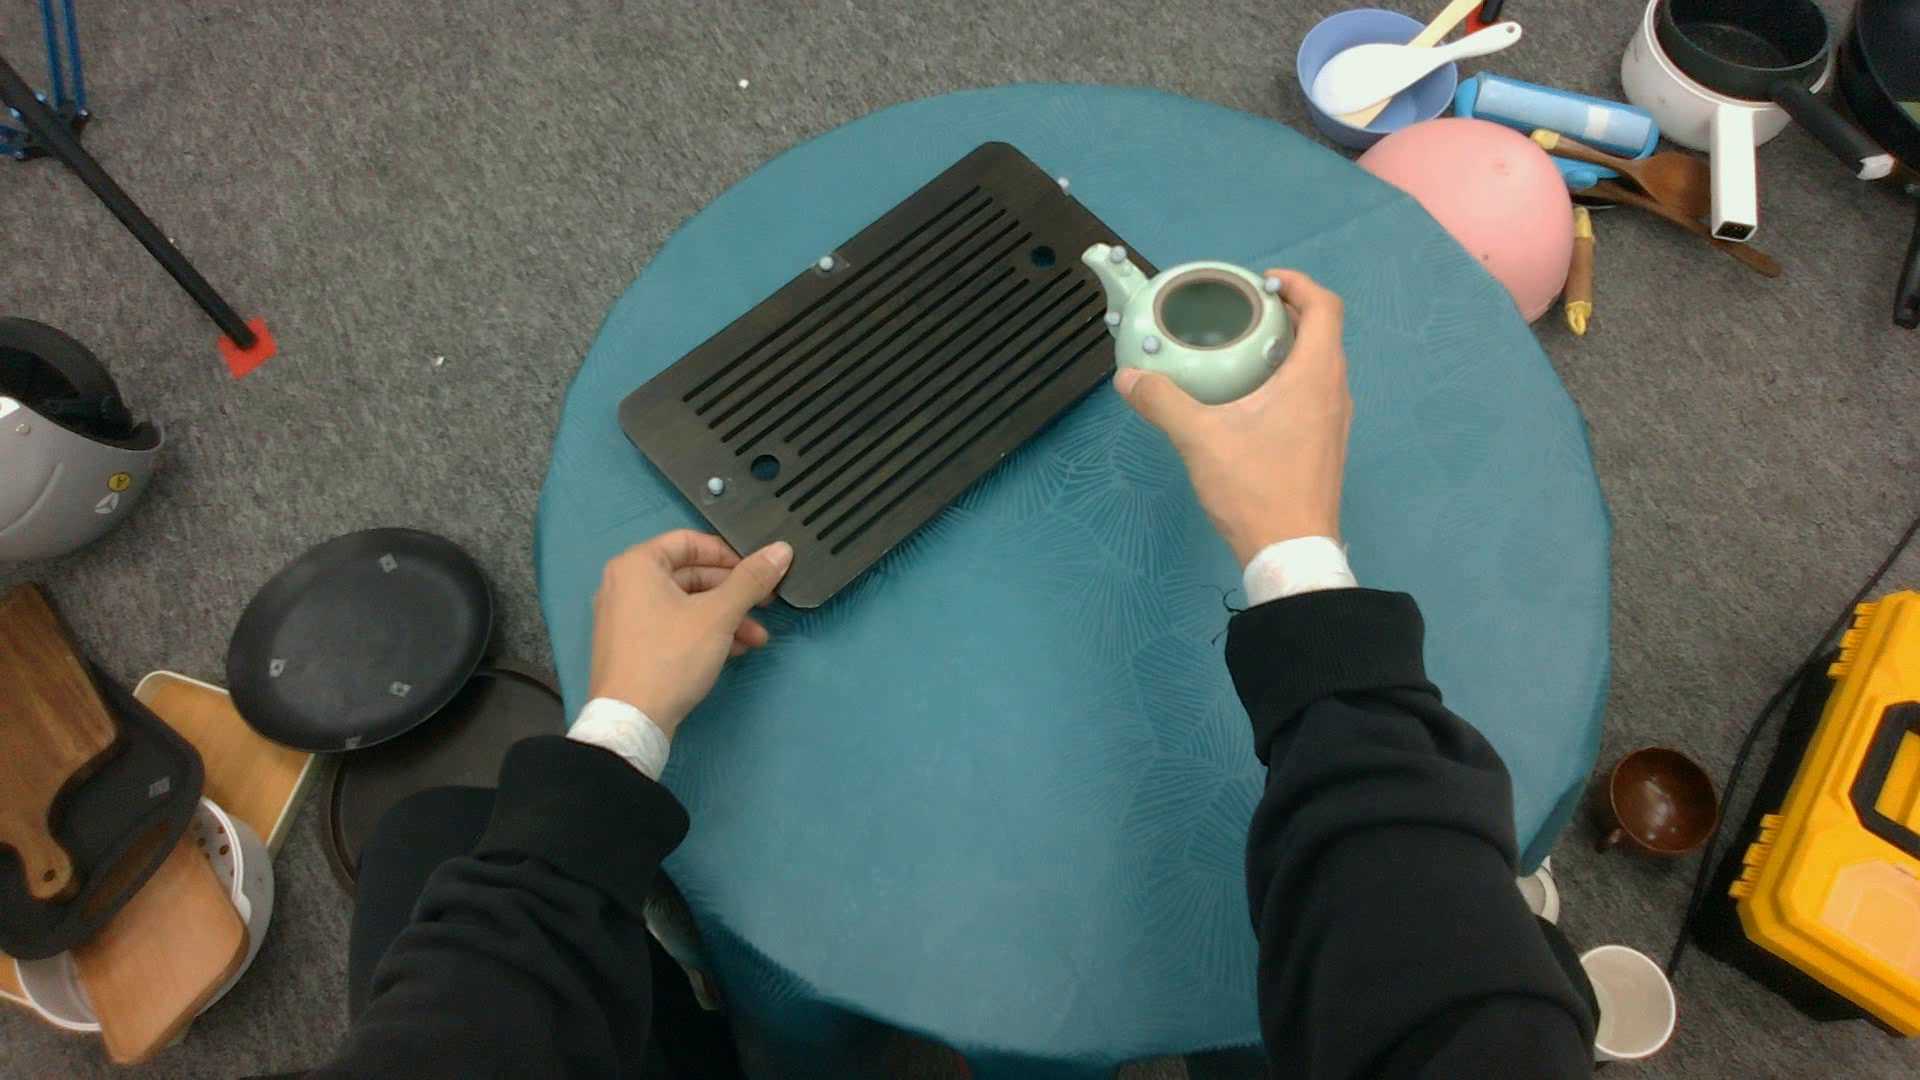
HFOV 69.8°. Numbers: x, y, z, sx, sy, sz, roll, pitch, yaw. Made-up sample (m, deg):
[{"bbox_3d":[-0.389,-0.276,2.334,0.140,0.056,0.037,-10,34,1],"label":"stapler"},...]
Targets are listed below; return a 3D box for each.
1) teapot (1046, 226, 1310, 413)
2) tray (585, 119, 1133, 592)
[{"bbox_3d":[0.107,-0.107,0.688,0.144,0.074,0.088,29,66,26],"label":"teapot"},{"bbox_3d":[-0.047,-0.116,0.796,0.307,0.018,0.170,-40,73,-19],"label":"tray"}]
